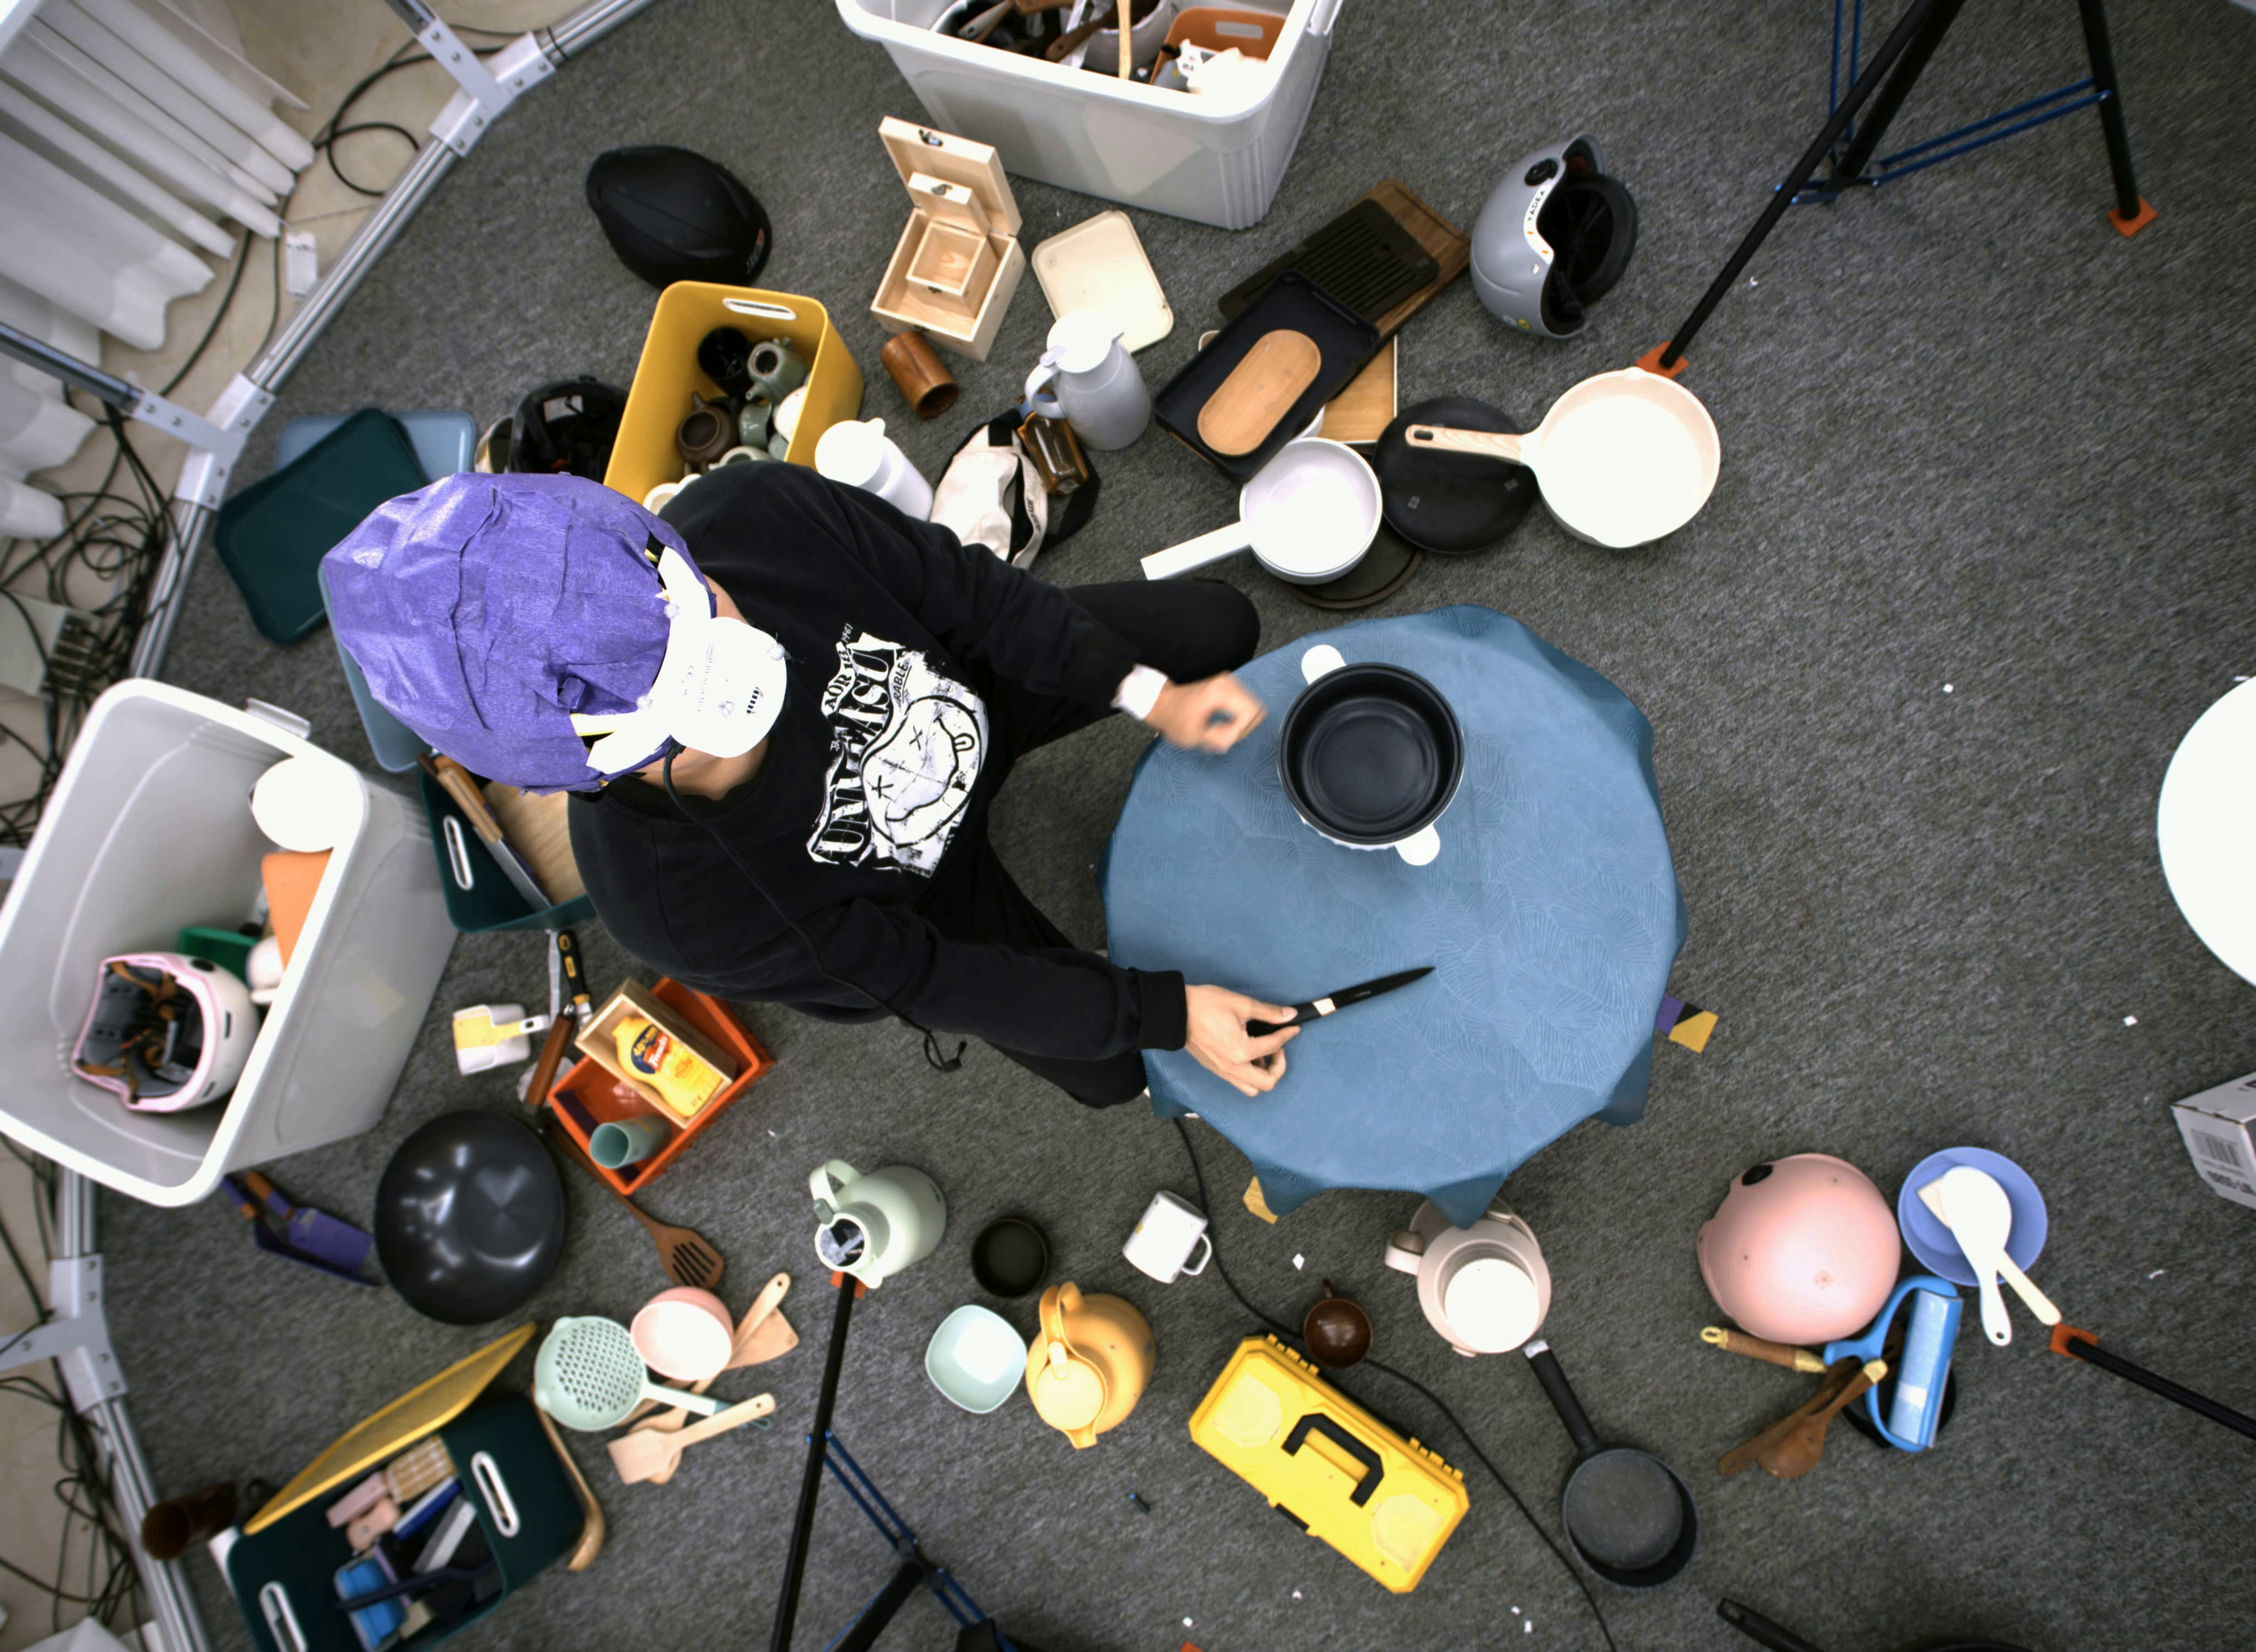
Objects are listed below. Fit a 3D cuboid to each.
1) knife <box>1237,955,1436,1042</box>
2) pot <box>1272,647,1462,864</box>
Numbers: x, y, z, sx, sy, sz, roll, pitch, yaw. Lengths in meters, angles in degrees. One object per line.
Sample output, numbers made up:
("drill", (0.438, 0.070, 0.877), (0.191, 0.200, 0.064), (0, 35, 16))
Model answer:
("knife", (0.219, 0.181, 1.458), (0.227, 0.025, 0.017), (-22, 124, 12))
("pot", (0.249, -0.069, 1.402), (0.192, 0.142, 0.239), (-29, 83, 11))
